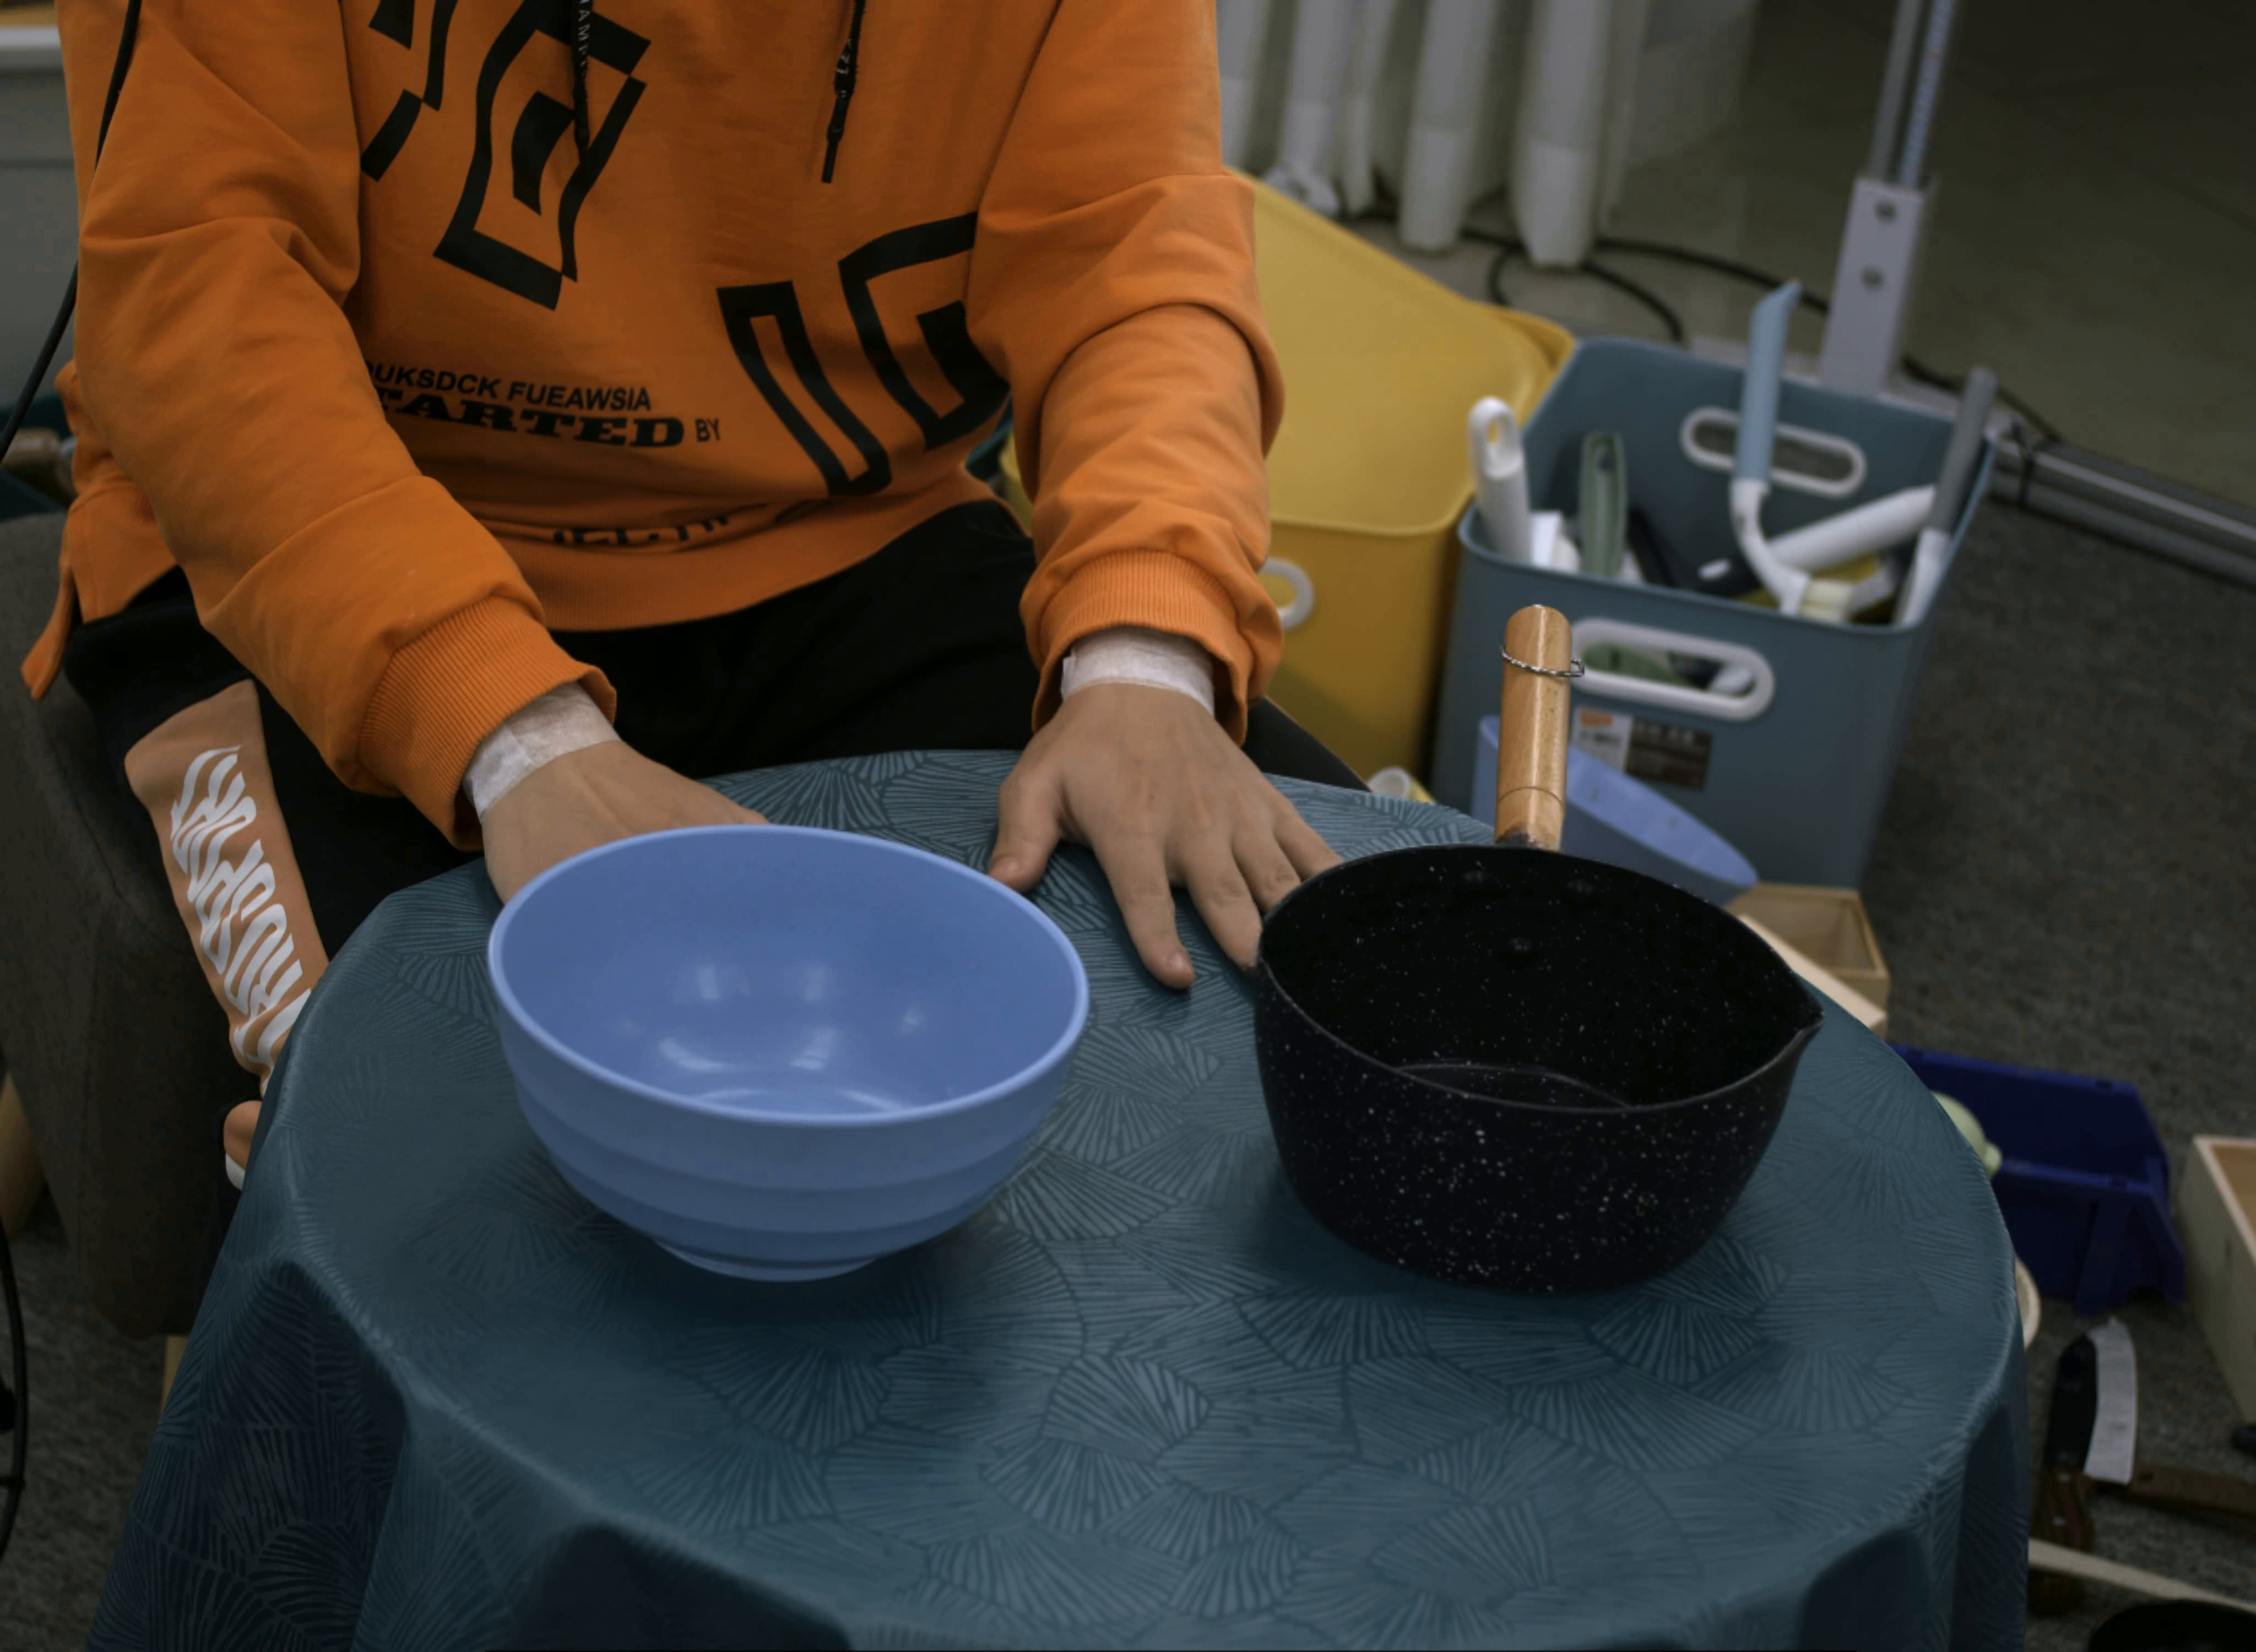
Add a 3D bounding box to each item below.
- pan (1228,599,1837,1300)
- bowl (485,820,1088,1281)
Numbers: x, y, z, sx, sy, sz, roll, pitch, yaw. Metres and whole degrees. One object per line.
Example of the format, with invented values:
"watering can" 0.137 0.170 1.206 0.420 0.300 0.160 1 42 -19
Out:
"pan" 0.138 0.039 1.879 0.207 0.108 0.345 6 28 1
"bowl" -0.115 0.085 1.747 0.196 0.095 0.198 5 28 -3
